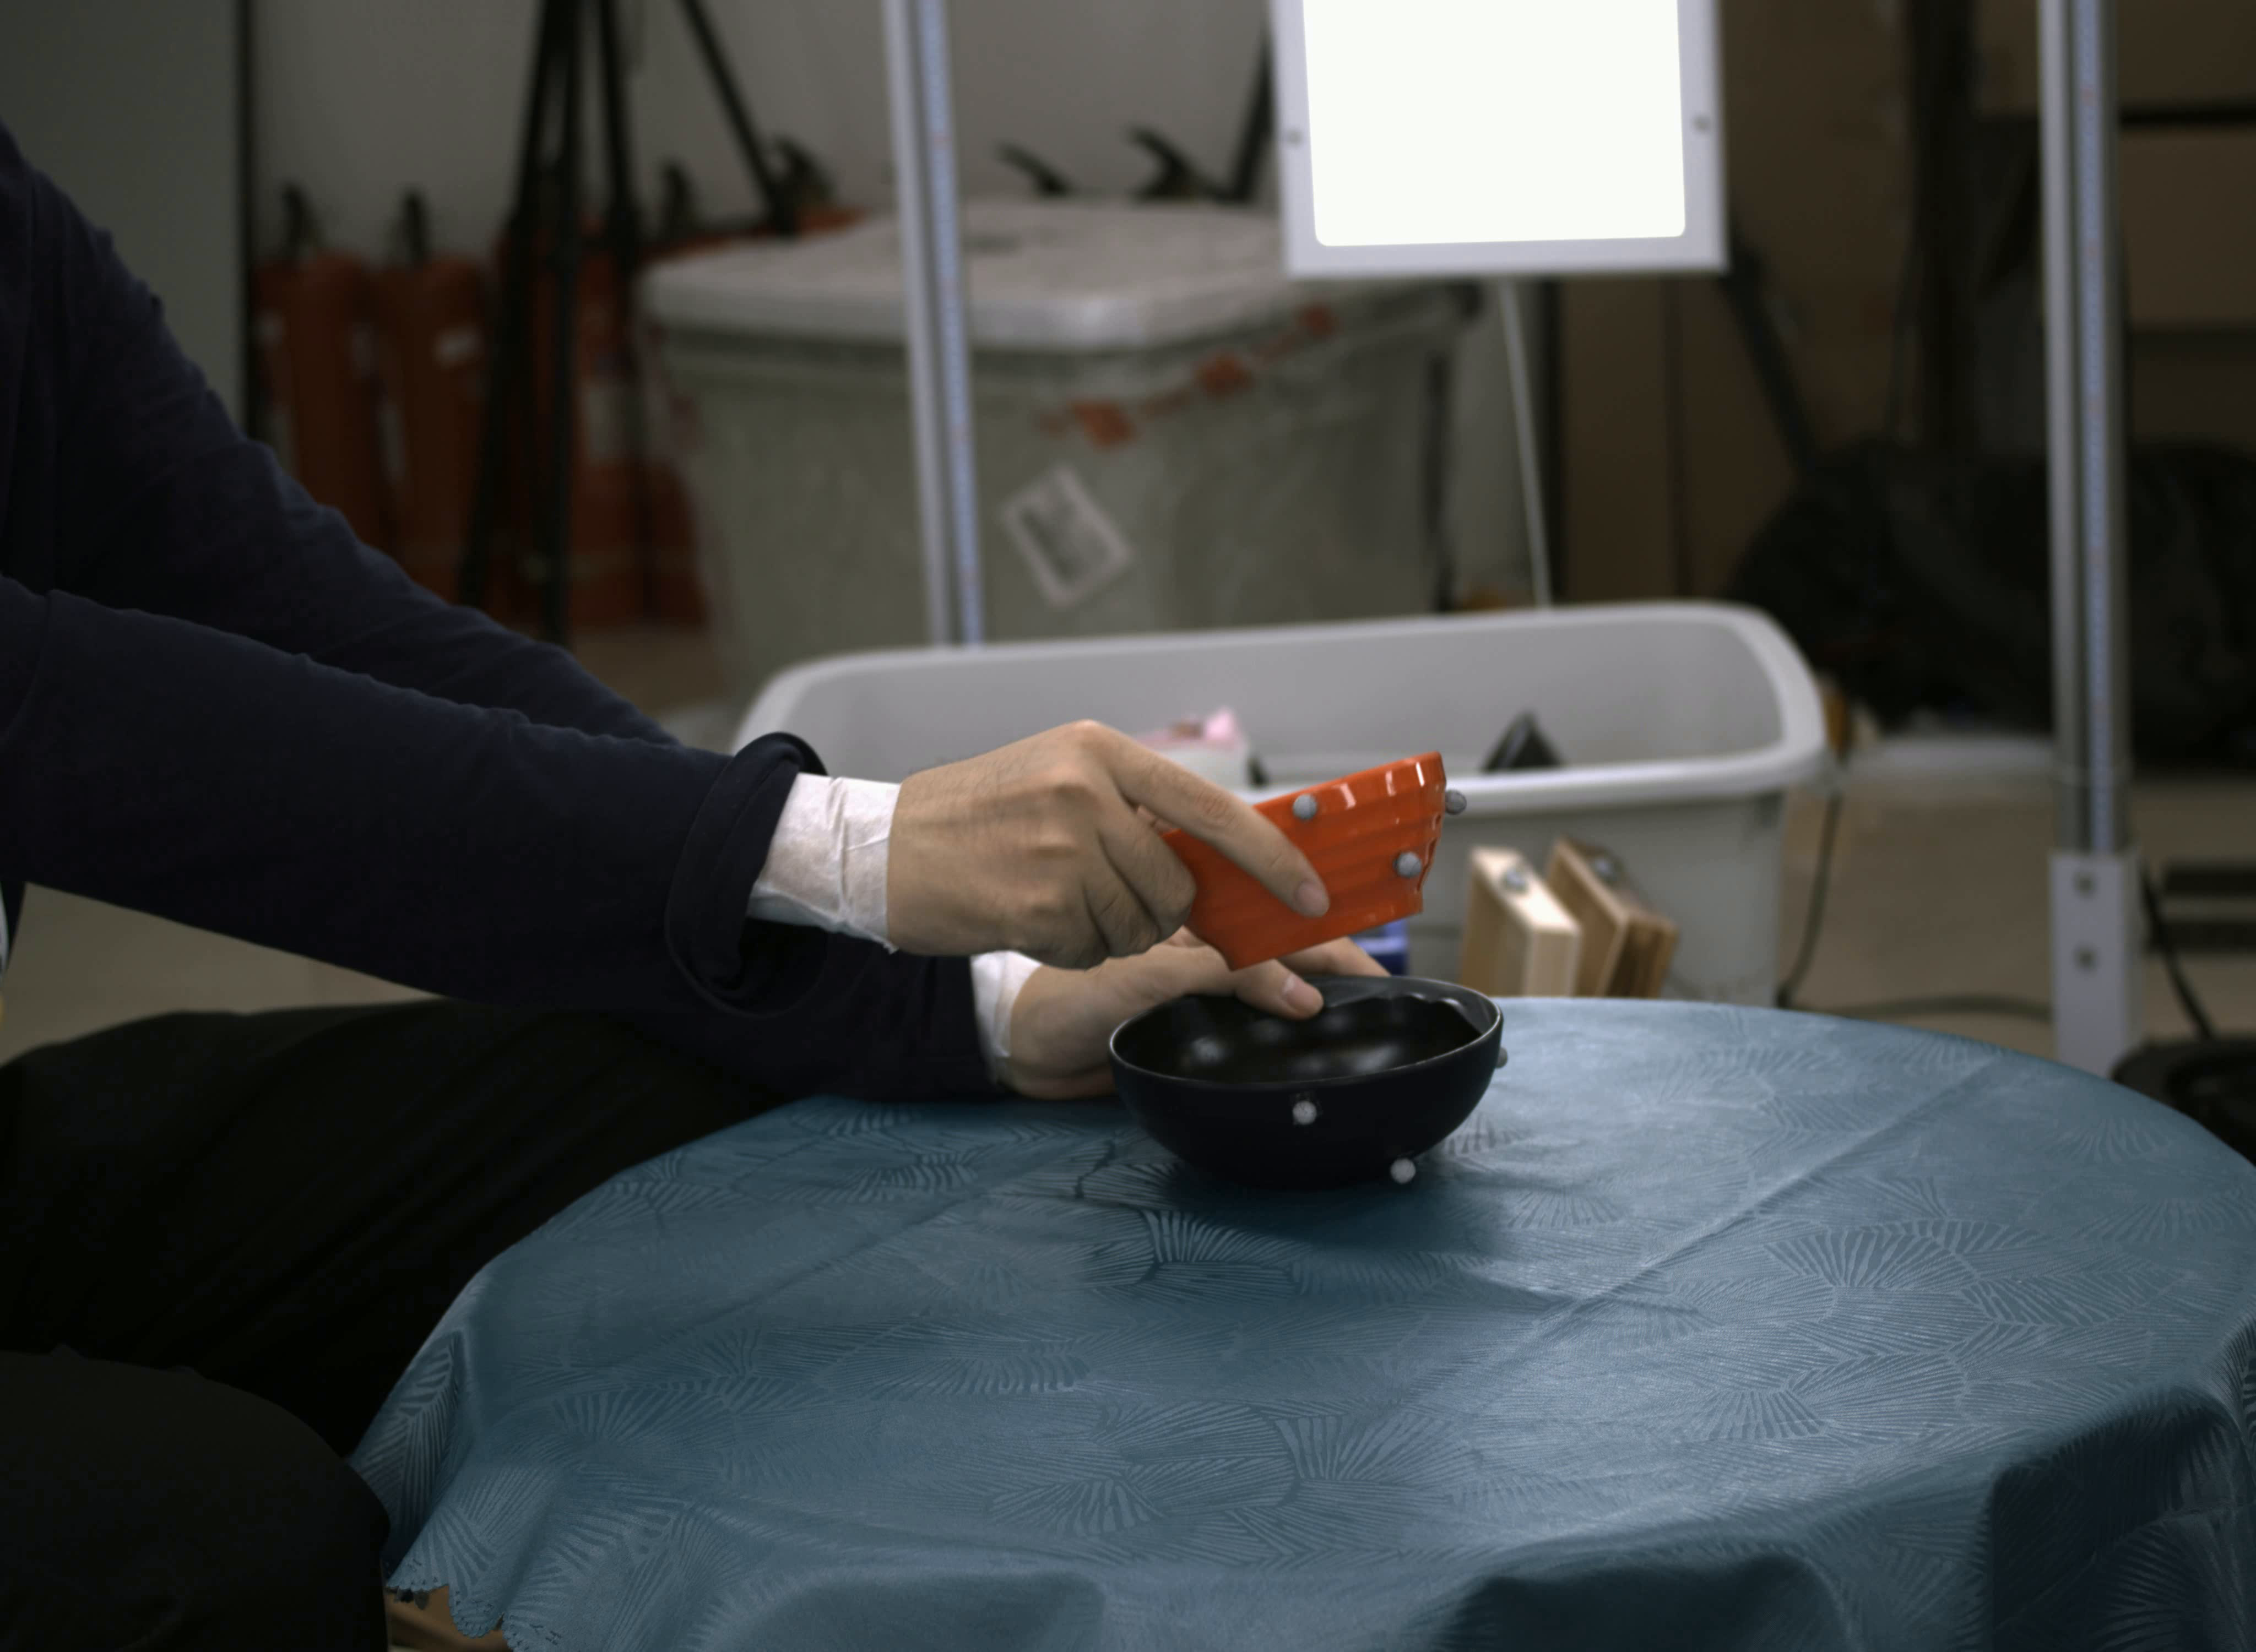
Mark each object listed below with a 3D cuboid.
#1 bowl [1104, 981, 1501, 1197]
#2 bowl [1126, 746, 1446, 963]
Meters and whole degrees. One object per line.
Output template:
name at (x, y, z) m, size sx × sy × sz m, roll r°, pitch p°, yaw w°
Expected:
bowl at (0.064, 0.095, 1.913) m, size 0.140 × 0.050 × 0.140 m, roll -9°, pitch 12°, yaw 0°
bowl at (0.059, 0.012, 1.840) m, size 0.118 × 0.051 × 0.119 m, roll -16°, pitch -1°, yaw -2°
